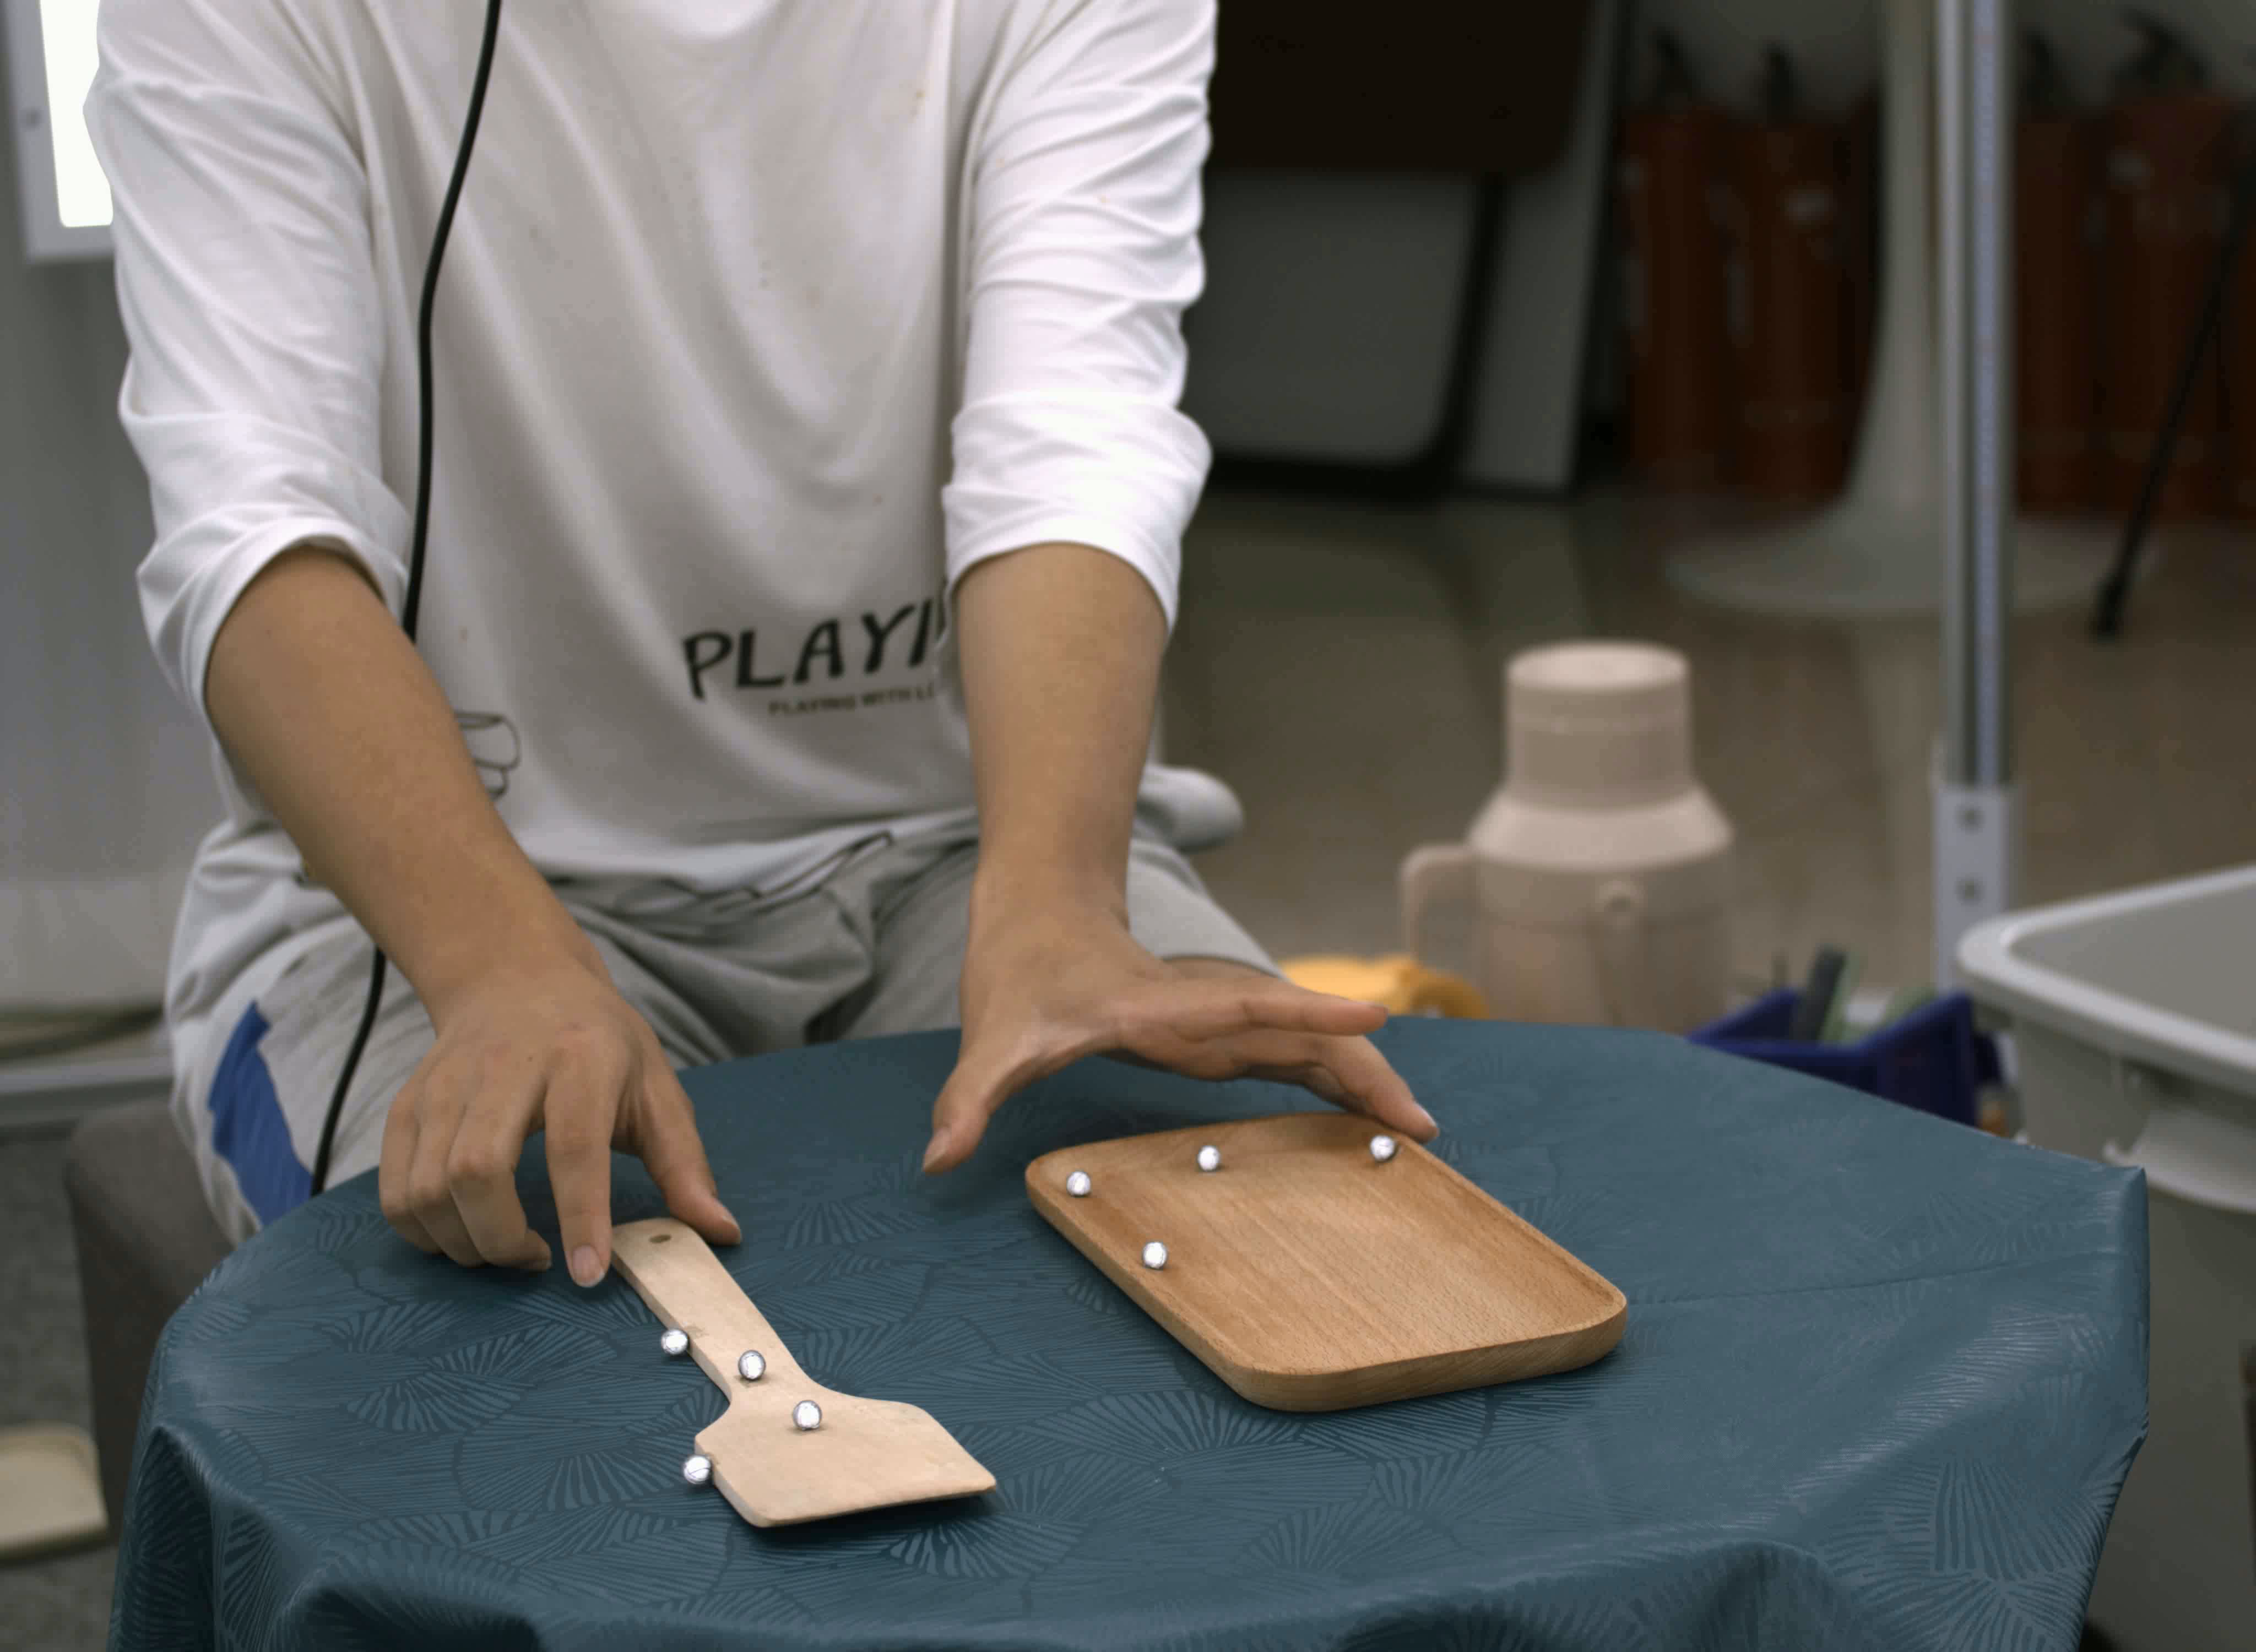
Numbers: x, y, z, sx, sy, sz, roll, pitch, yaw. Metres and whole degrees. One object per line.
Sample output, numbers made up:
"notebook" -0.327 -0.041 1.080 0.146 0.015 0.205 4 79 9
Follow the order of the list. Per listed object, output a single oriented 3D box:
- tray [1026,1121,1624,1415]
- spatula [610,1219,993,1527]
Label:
"tray" 0.057 0.134 1.672 0.128 0.023 0.253 -10 15 -14
"spatula" -0.113 0.161 1.622 0.071 0.011 0.295 -8 14 -16
